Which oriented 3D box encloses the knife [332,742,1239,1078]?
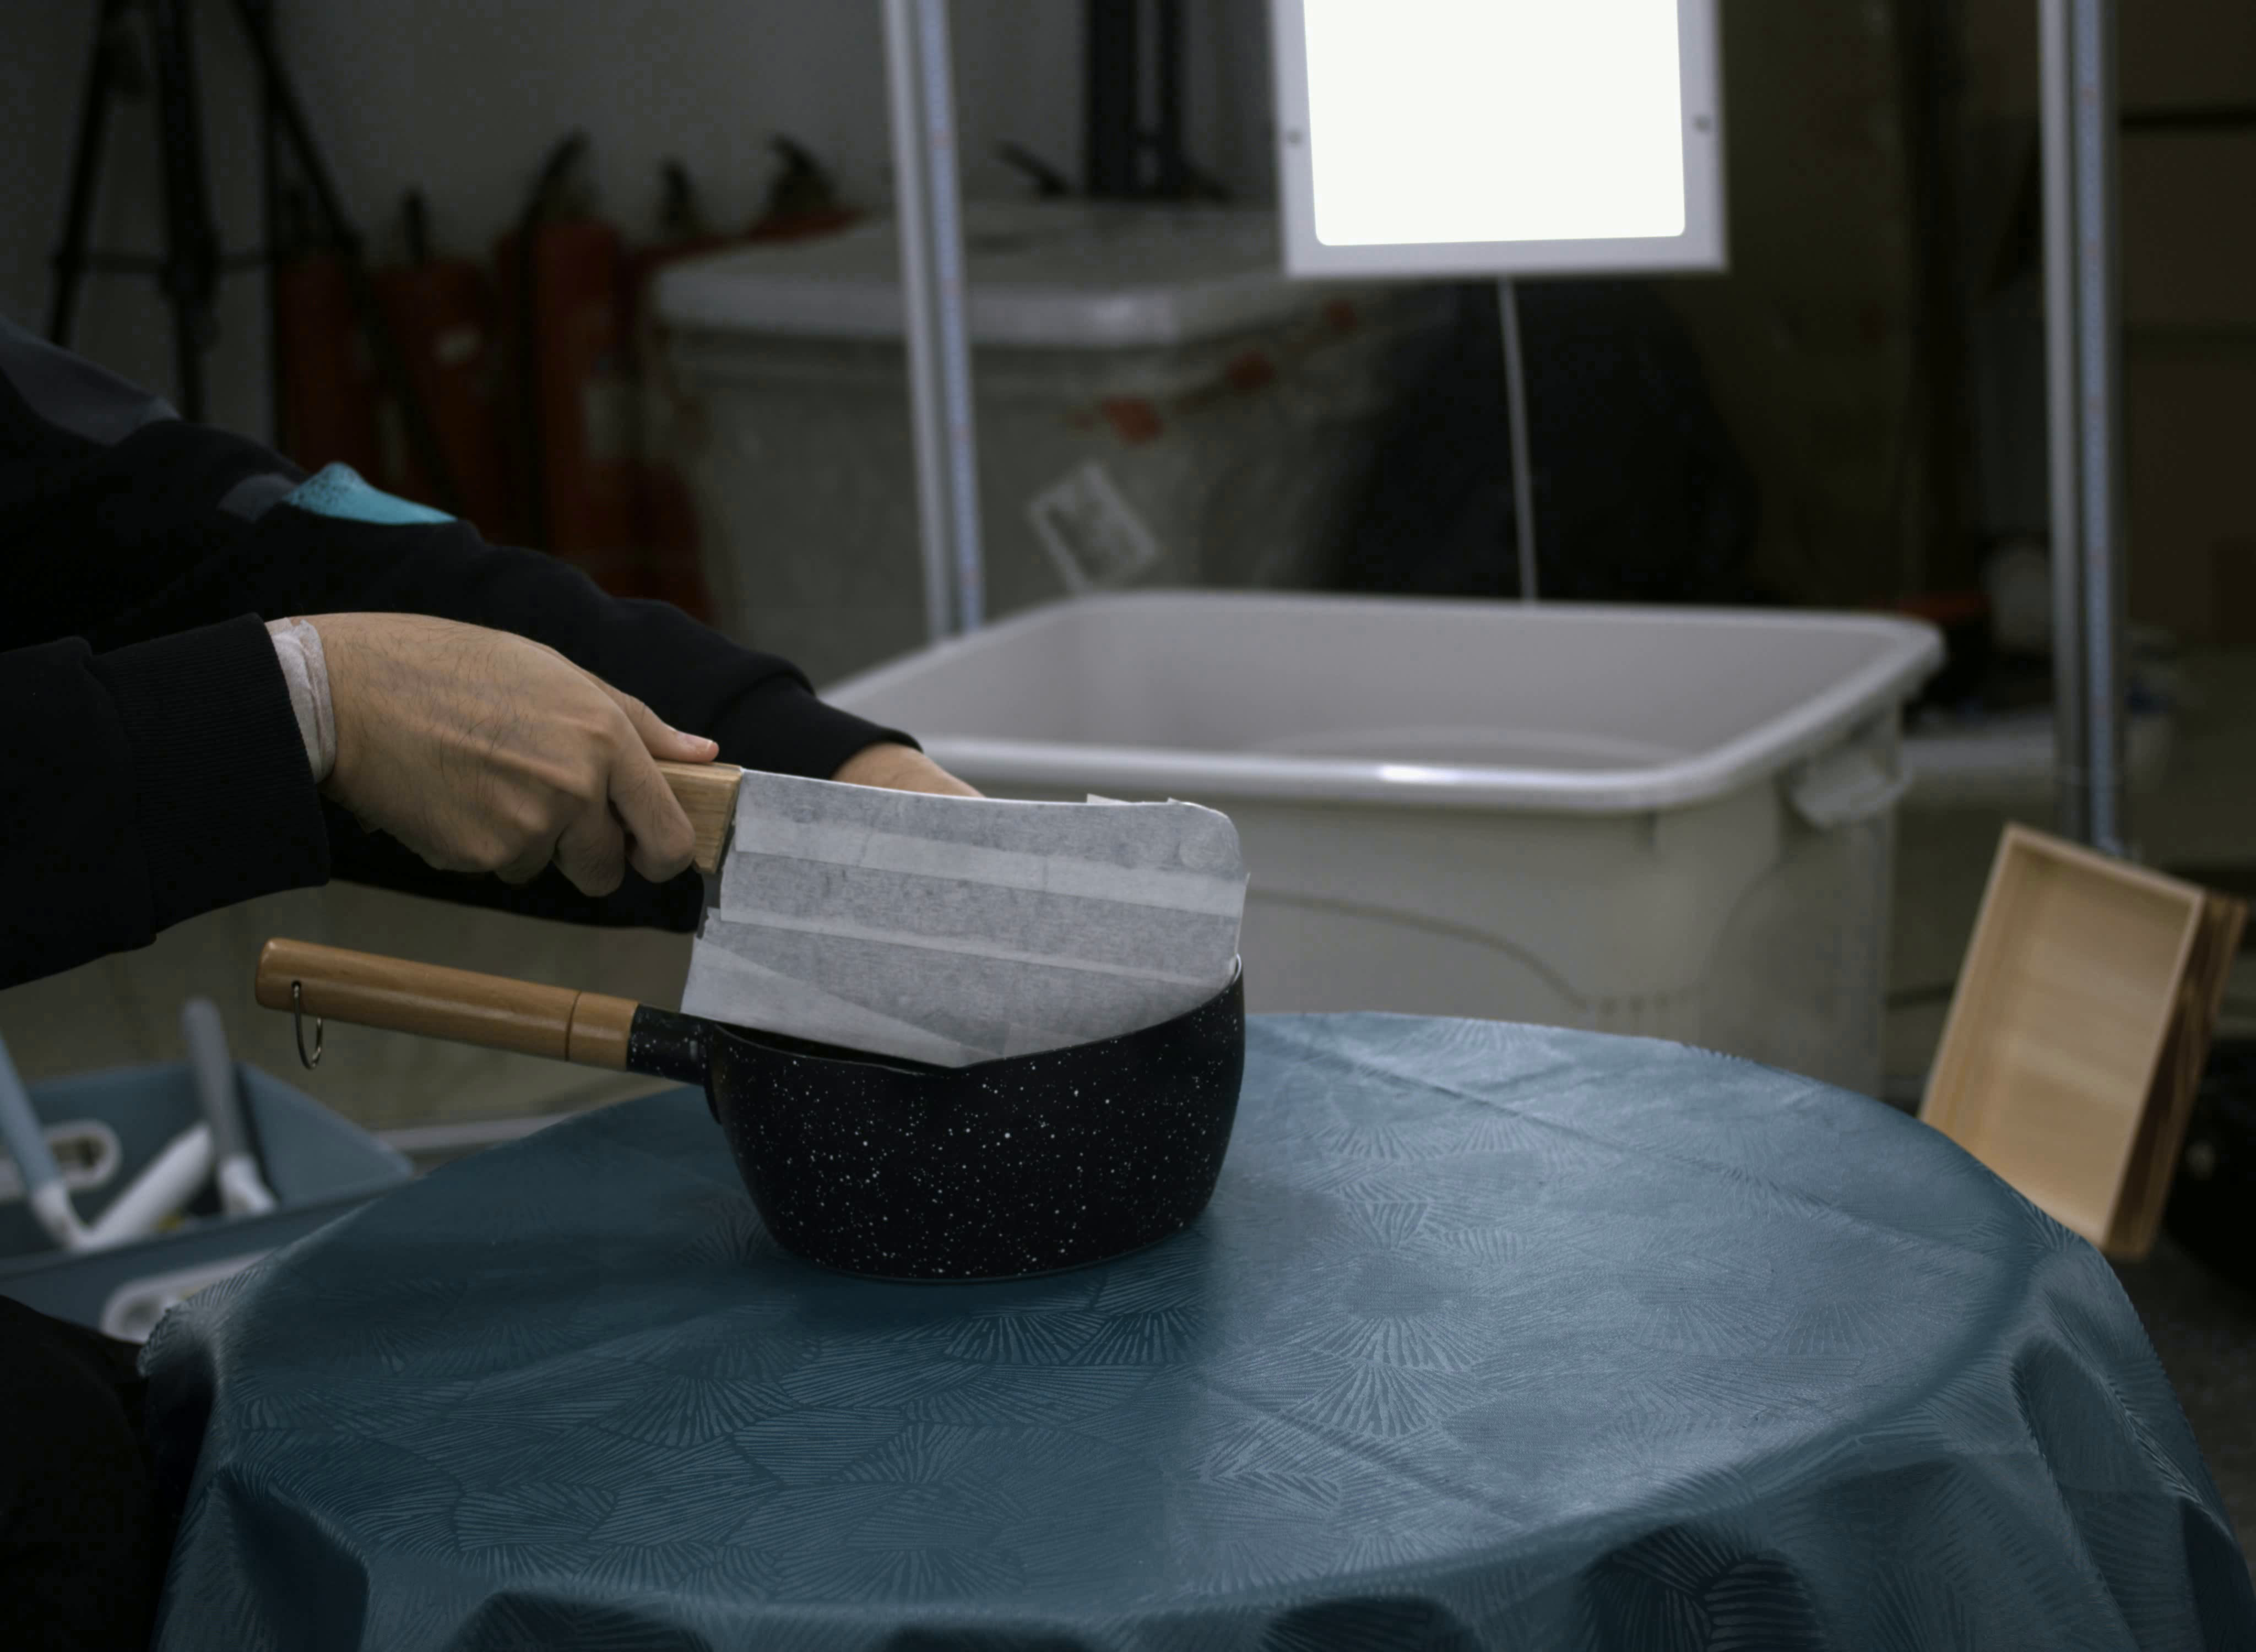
[{"bbox_3d":[-0.110,0.016,1.834,0.313,0.114,0.022,12,10,-5],"label":"knife"}]

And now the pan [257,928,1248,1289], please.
[{"bbox_3d":[-0.129,0.085,1.883,0.344,0.108,0.206,-2,15,8],"label":"pan"}]
